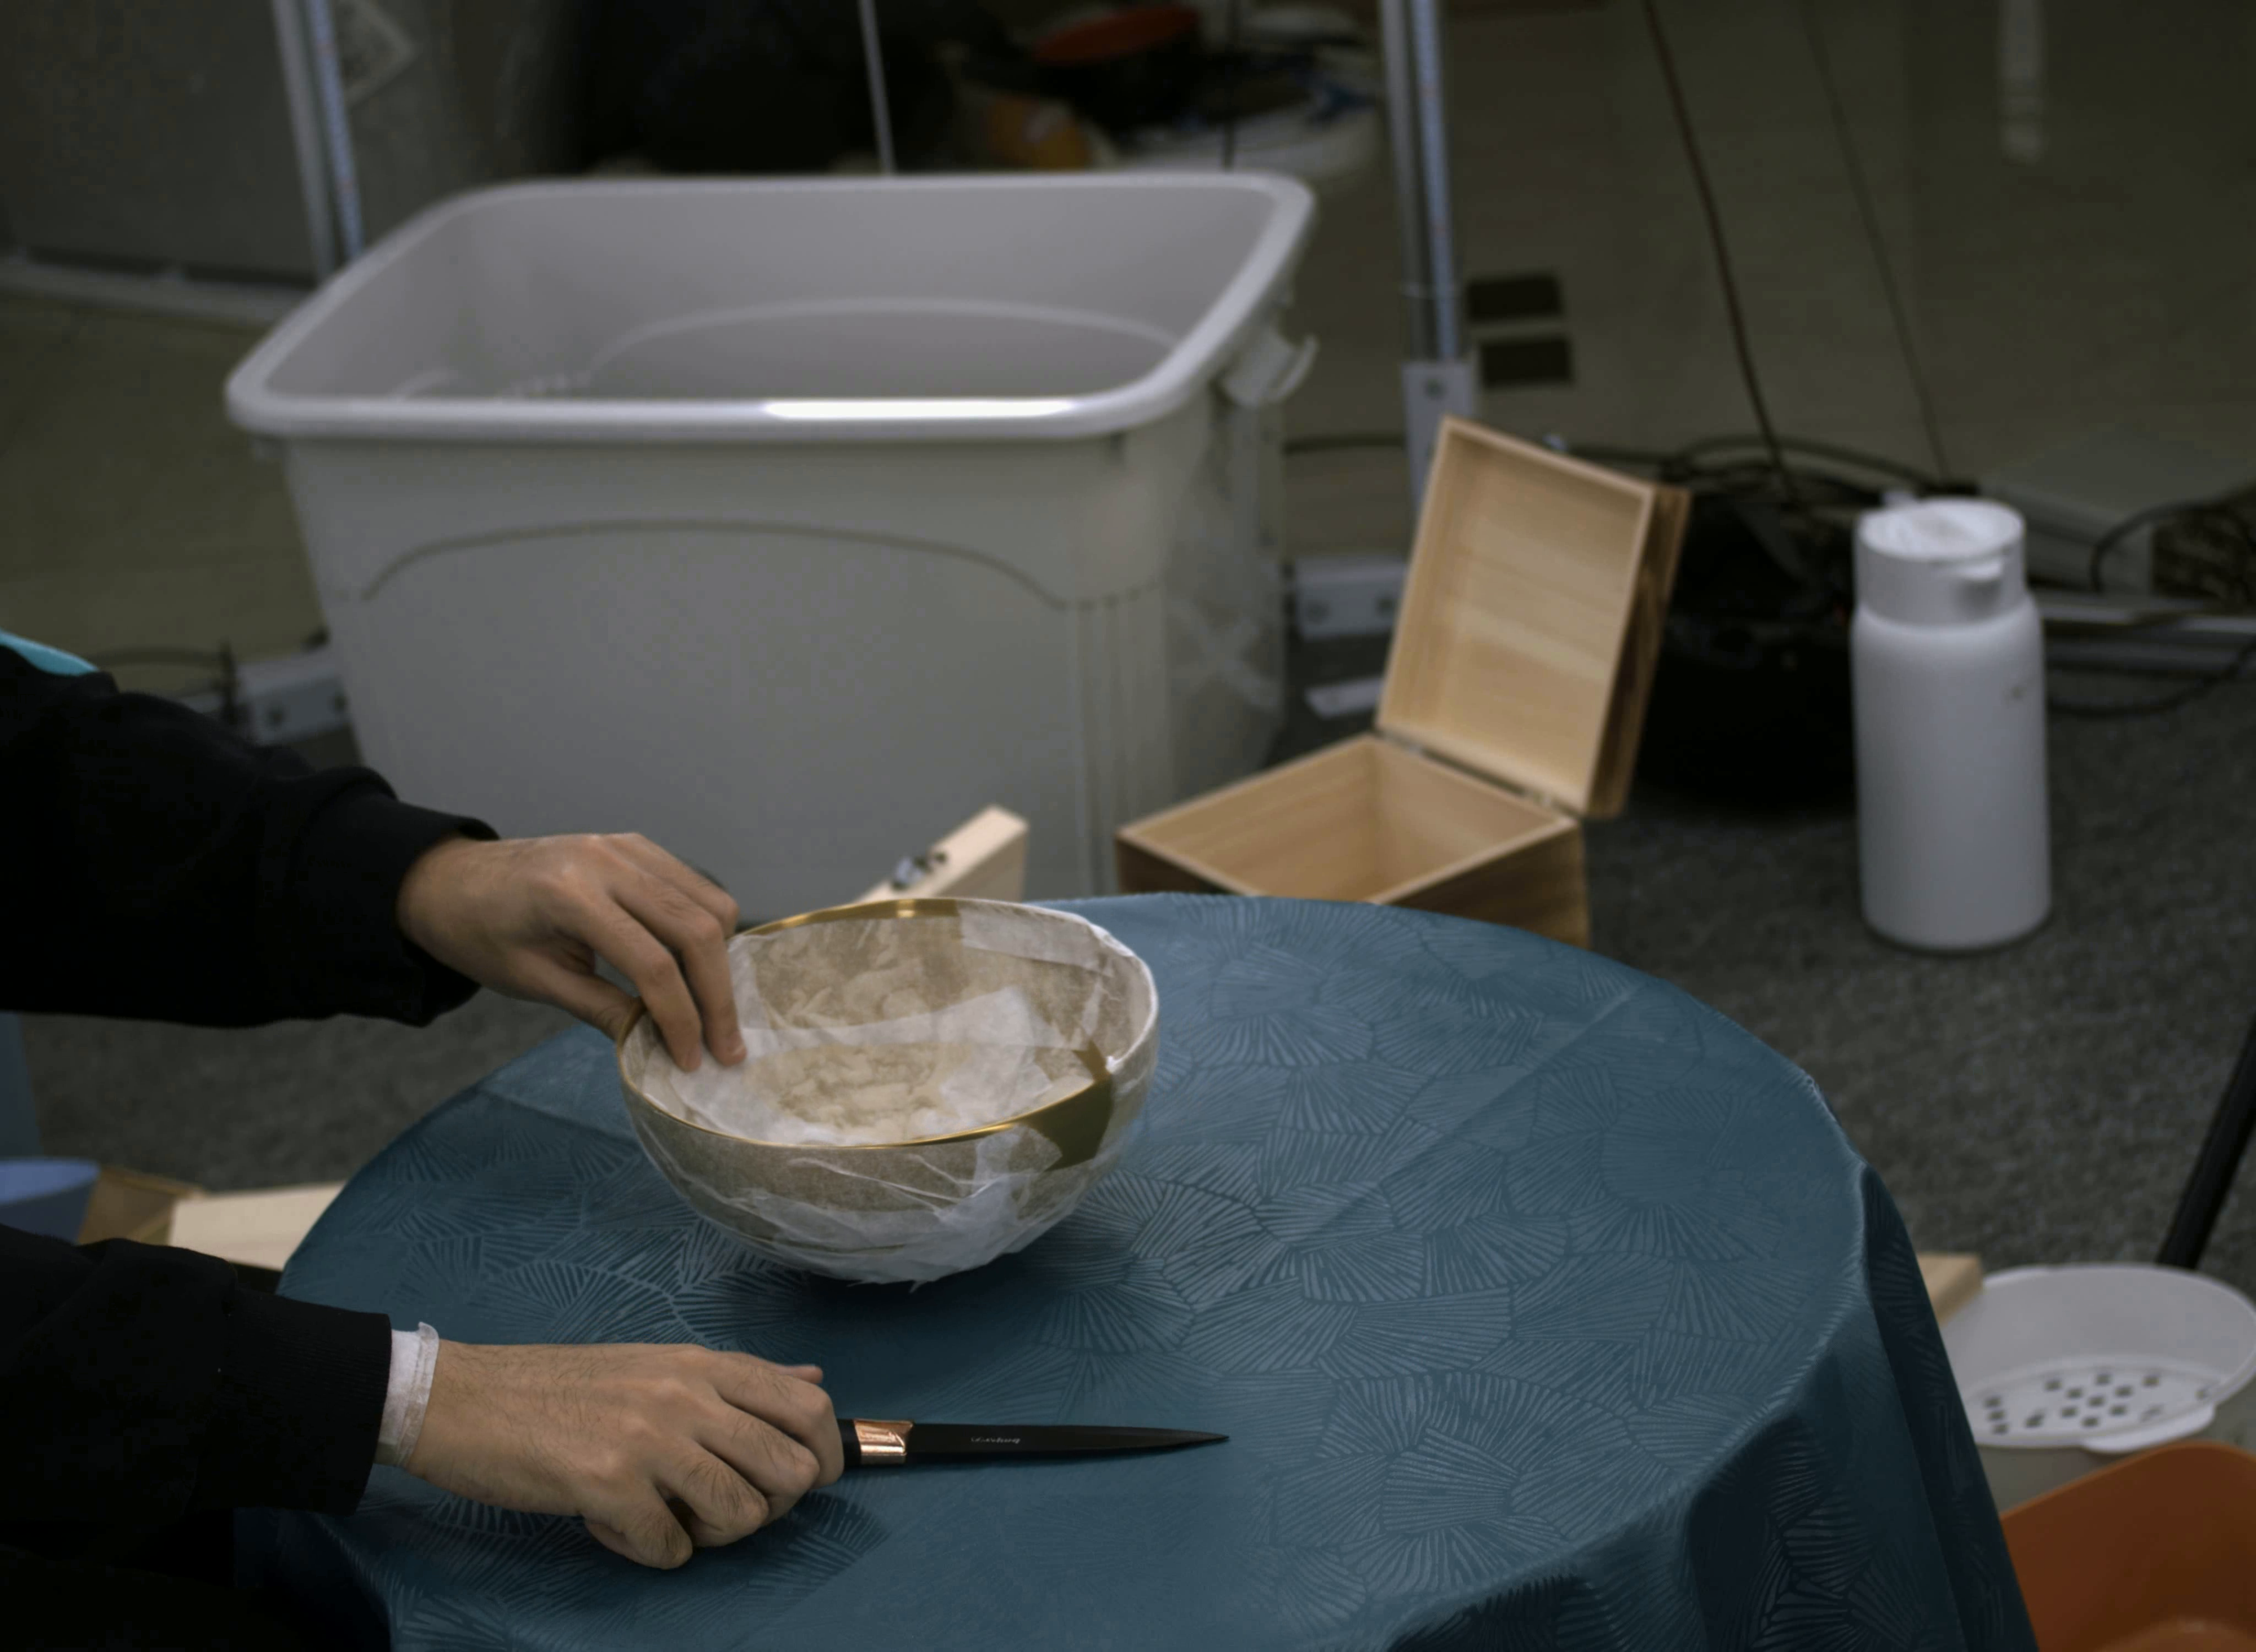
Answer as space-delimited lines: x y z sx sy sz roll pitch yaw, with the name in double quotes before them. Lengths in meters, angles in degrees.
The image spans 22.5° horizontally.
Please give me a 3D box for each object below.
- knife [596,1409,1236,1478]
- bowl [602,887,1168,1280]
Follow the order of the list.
"knife" -0.074 0.215 1.991 0.225 0.017 0.026 -3 17 4
"bowl" -0.087 0.109 2.117 0.214 0.096 0.211 -4 27 2
